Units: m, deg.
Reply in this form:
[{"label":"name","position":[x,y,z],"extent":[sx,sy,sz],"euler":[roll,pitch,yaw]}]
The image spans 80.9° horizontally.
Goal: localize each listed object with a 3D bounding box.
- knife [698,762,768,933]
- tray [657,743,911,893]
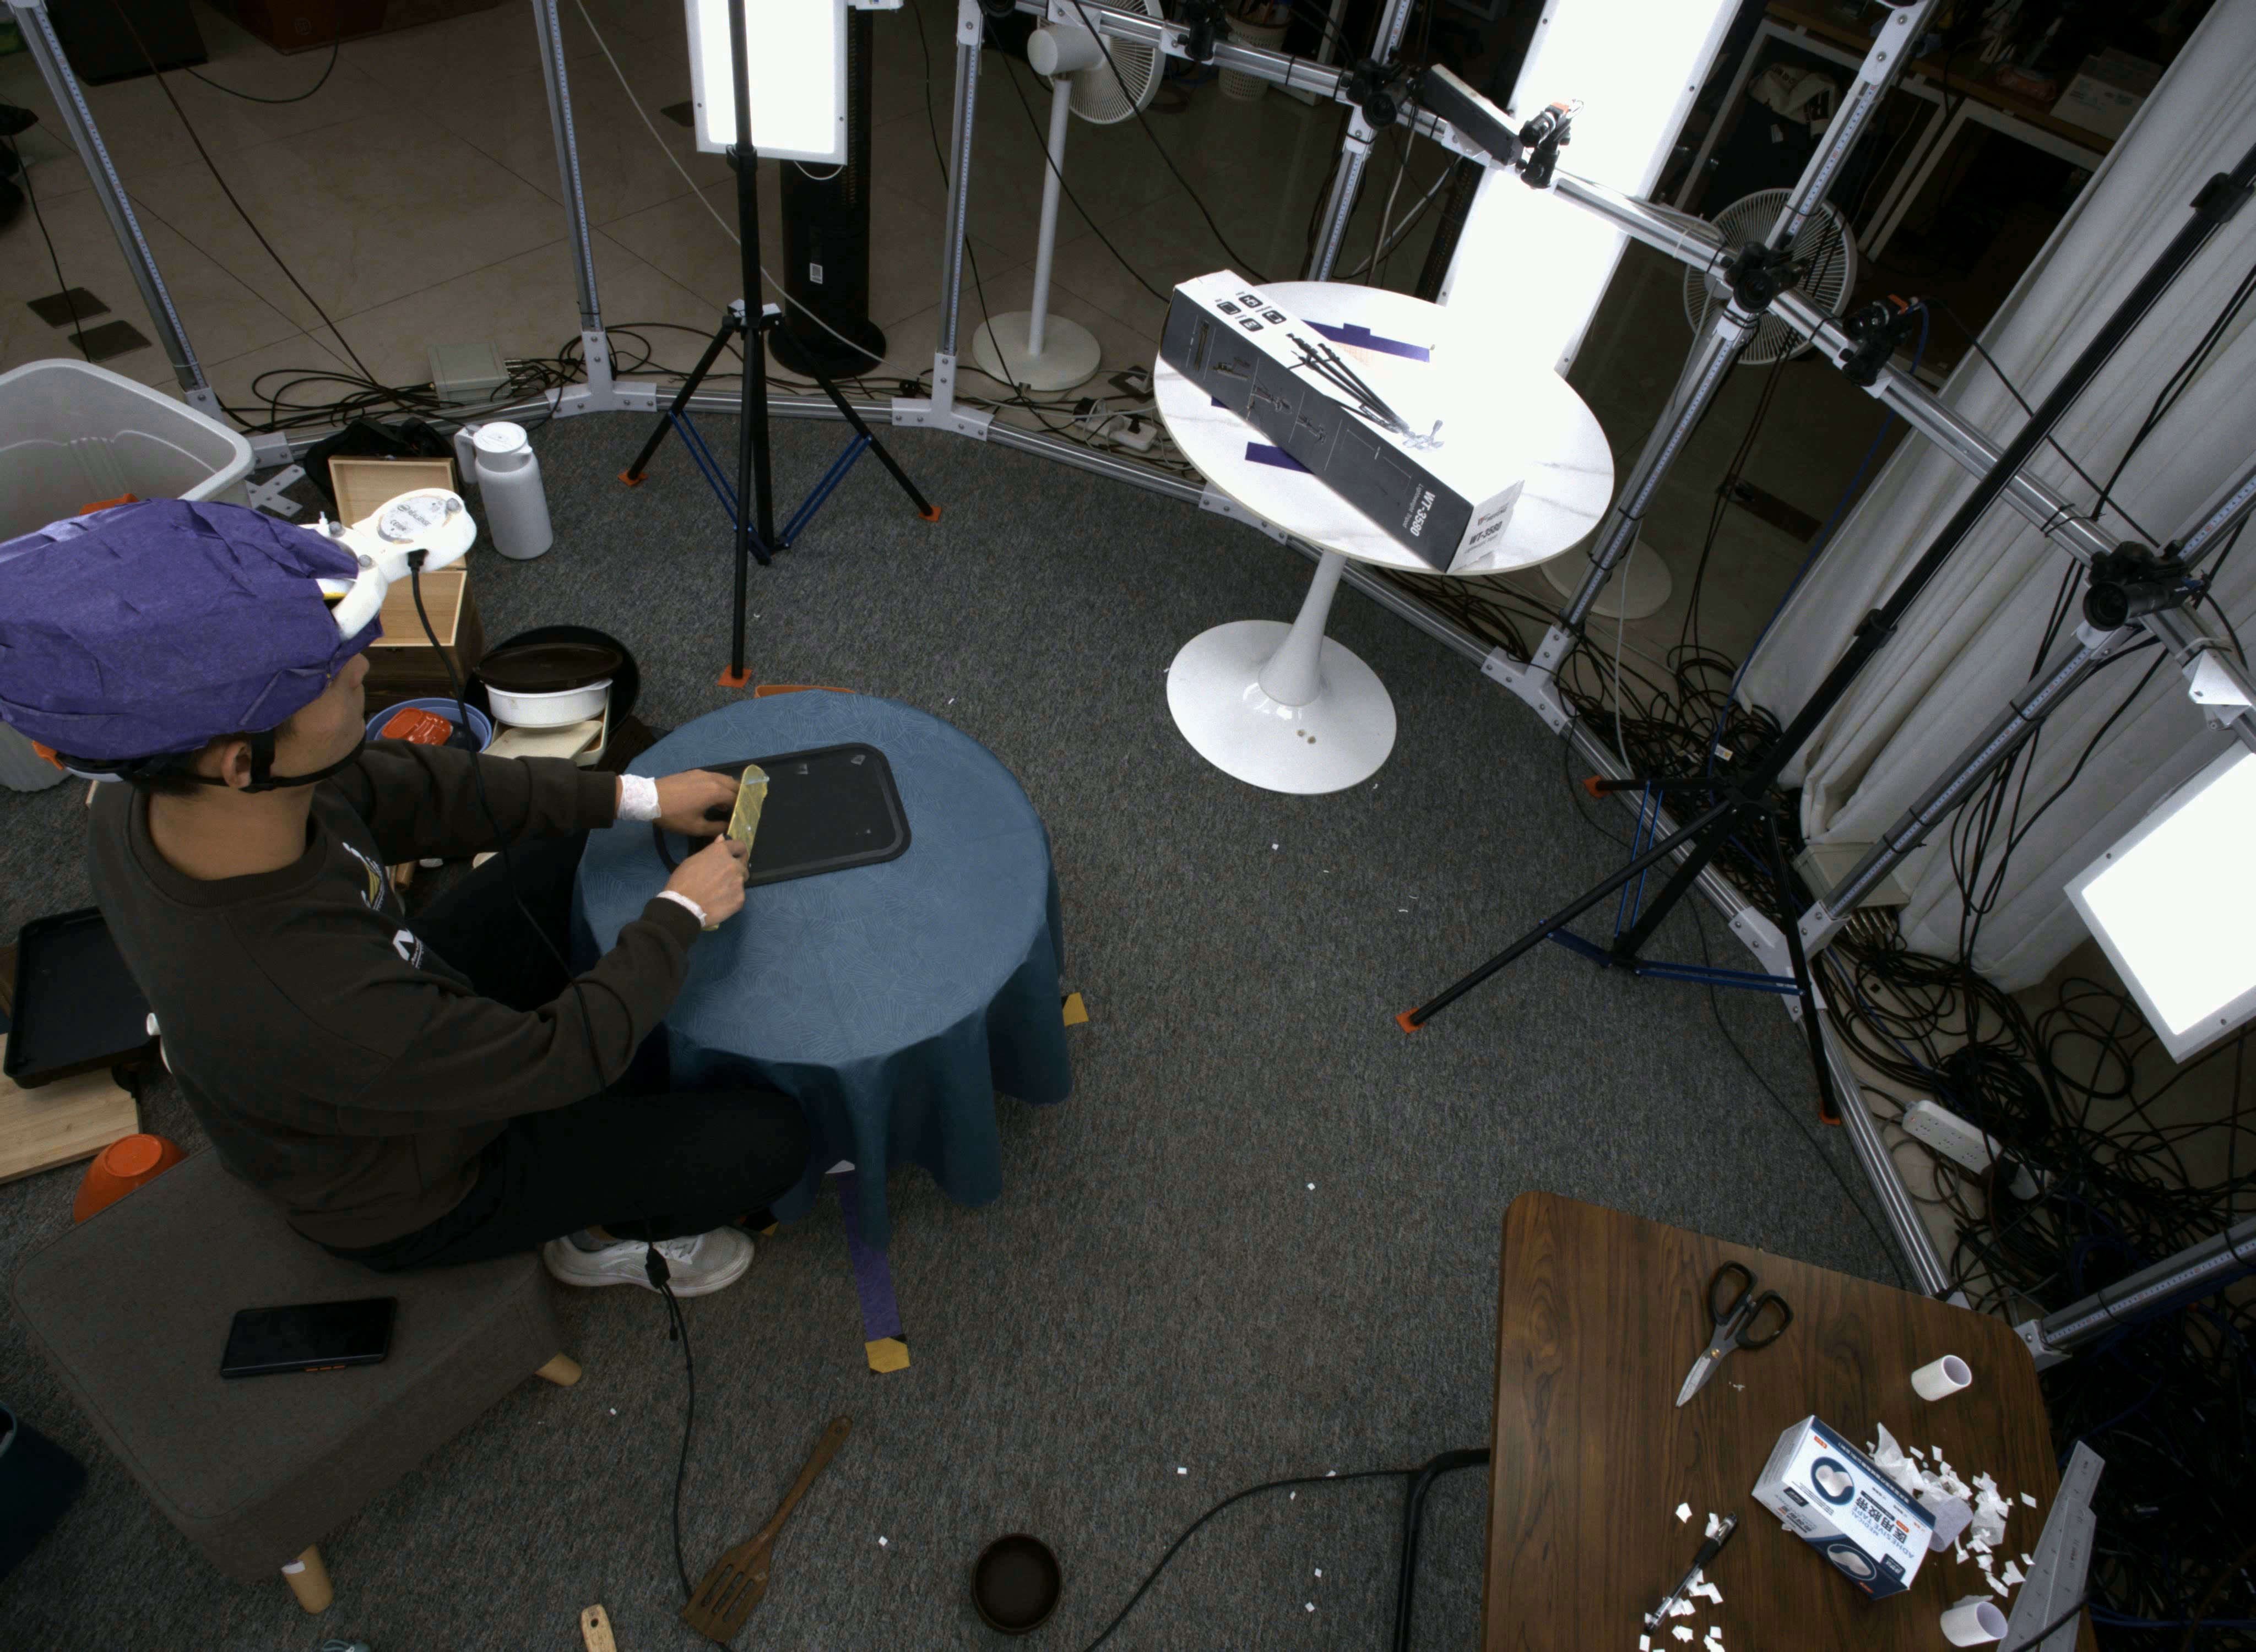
[{"label":"knife","position":[-0.496,0.025,1.644],"extent":[0.027,0.084,0.284],"euler":[-3,47,8]},{"label":"tray","position":[-0.463,-0.015,1.731],"extent":[0.327,0.010,0.206],"euler":[-11,58,-22]}]
